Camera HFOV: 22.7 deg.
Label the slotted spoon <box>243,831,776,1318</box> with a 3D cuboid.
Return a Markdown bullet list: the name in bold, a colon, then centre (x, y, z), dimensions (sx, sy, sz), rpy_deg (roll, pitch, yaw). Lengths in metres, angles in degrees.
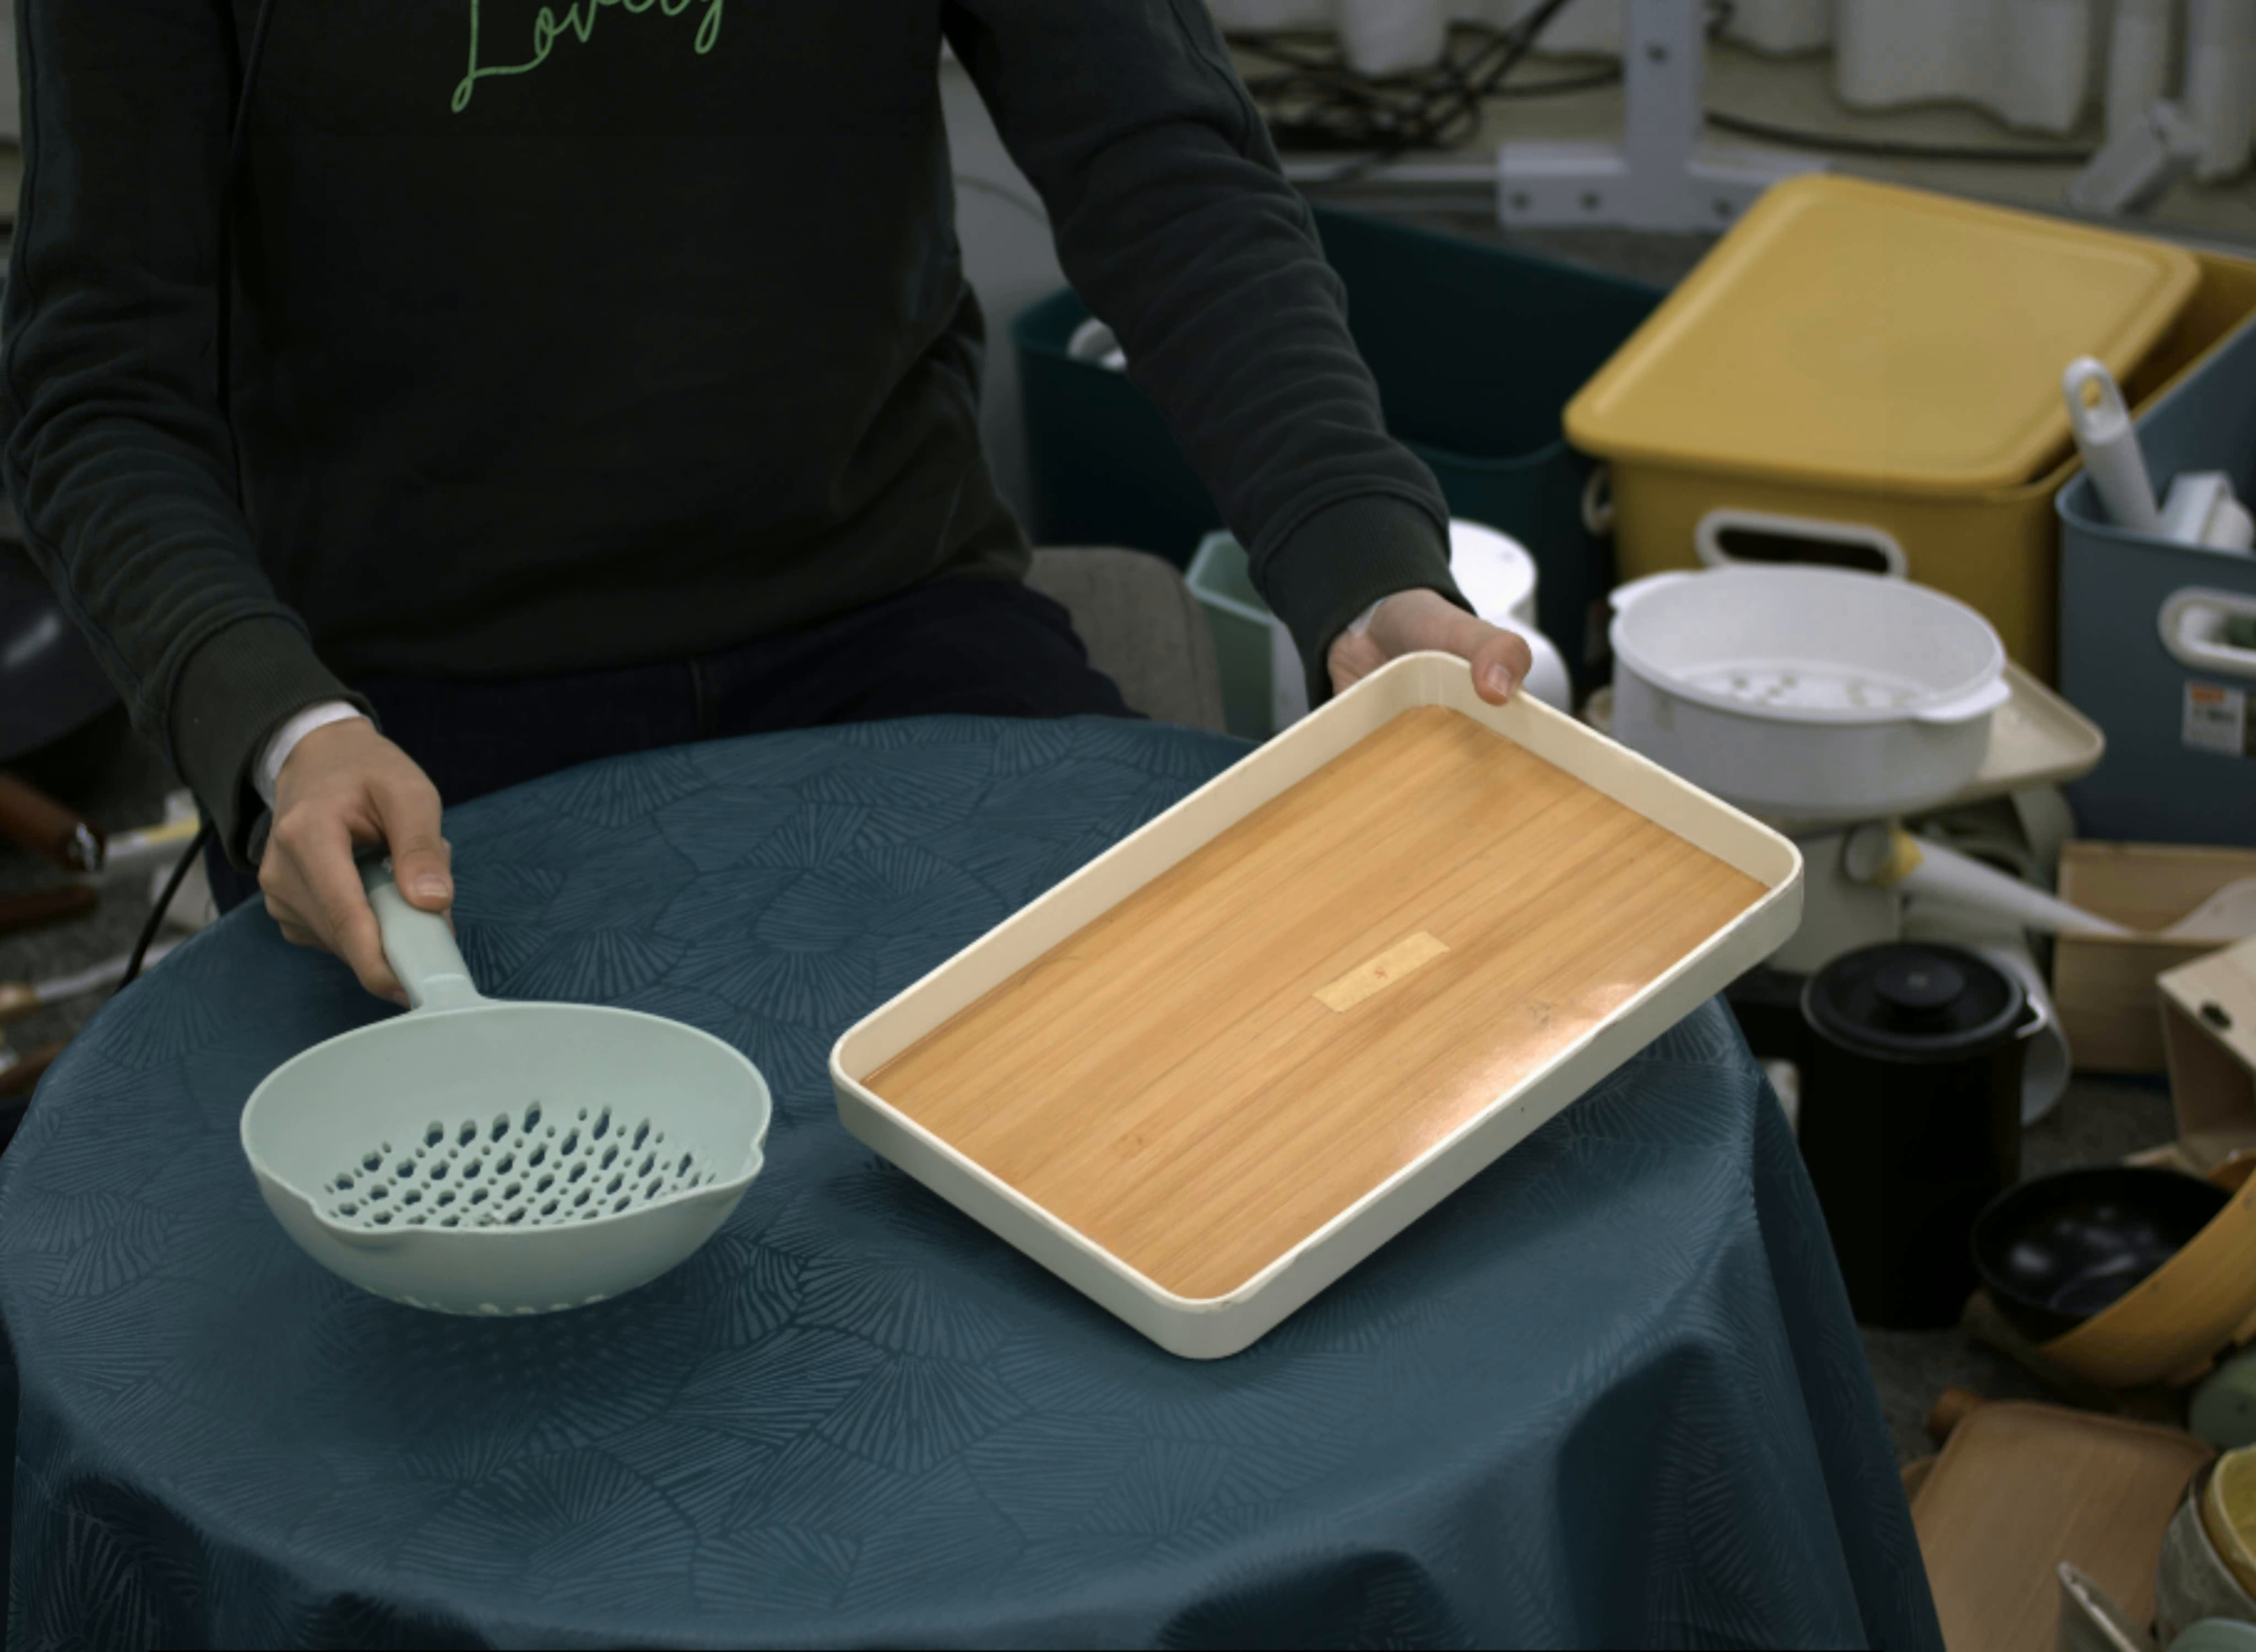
- **slotted spoon**: centre (-0.224, 0.067, 1.878), dimensions (0.169, 0.074, 0.363), rpy_deg (-5, 30, -16)

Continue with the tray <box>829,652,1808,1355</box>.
- **tray**: centre (0.066, 0.053, 1.889), dimensions (0.304, 0.027, 0.192), rpy_deg (-33, 46, -31)
